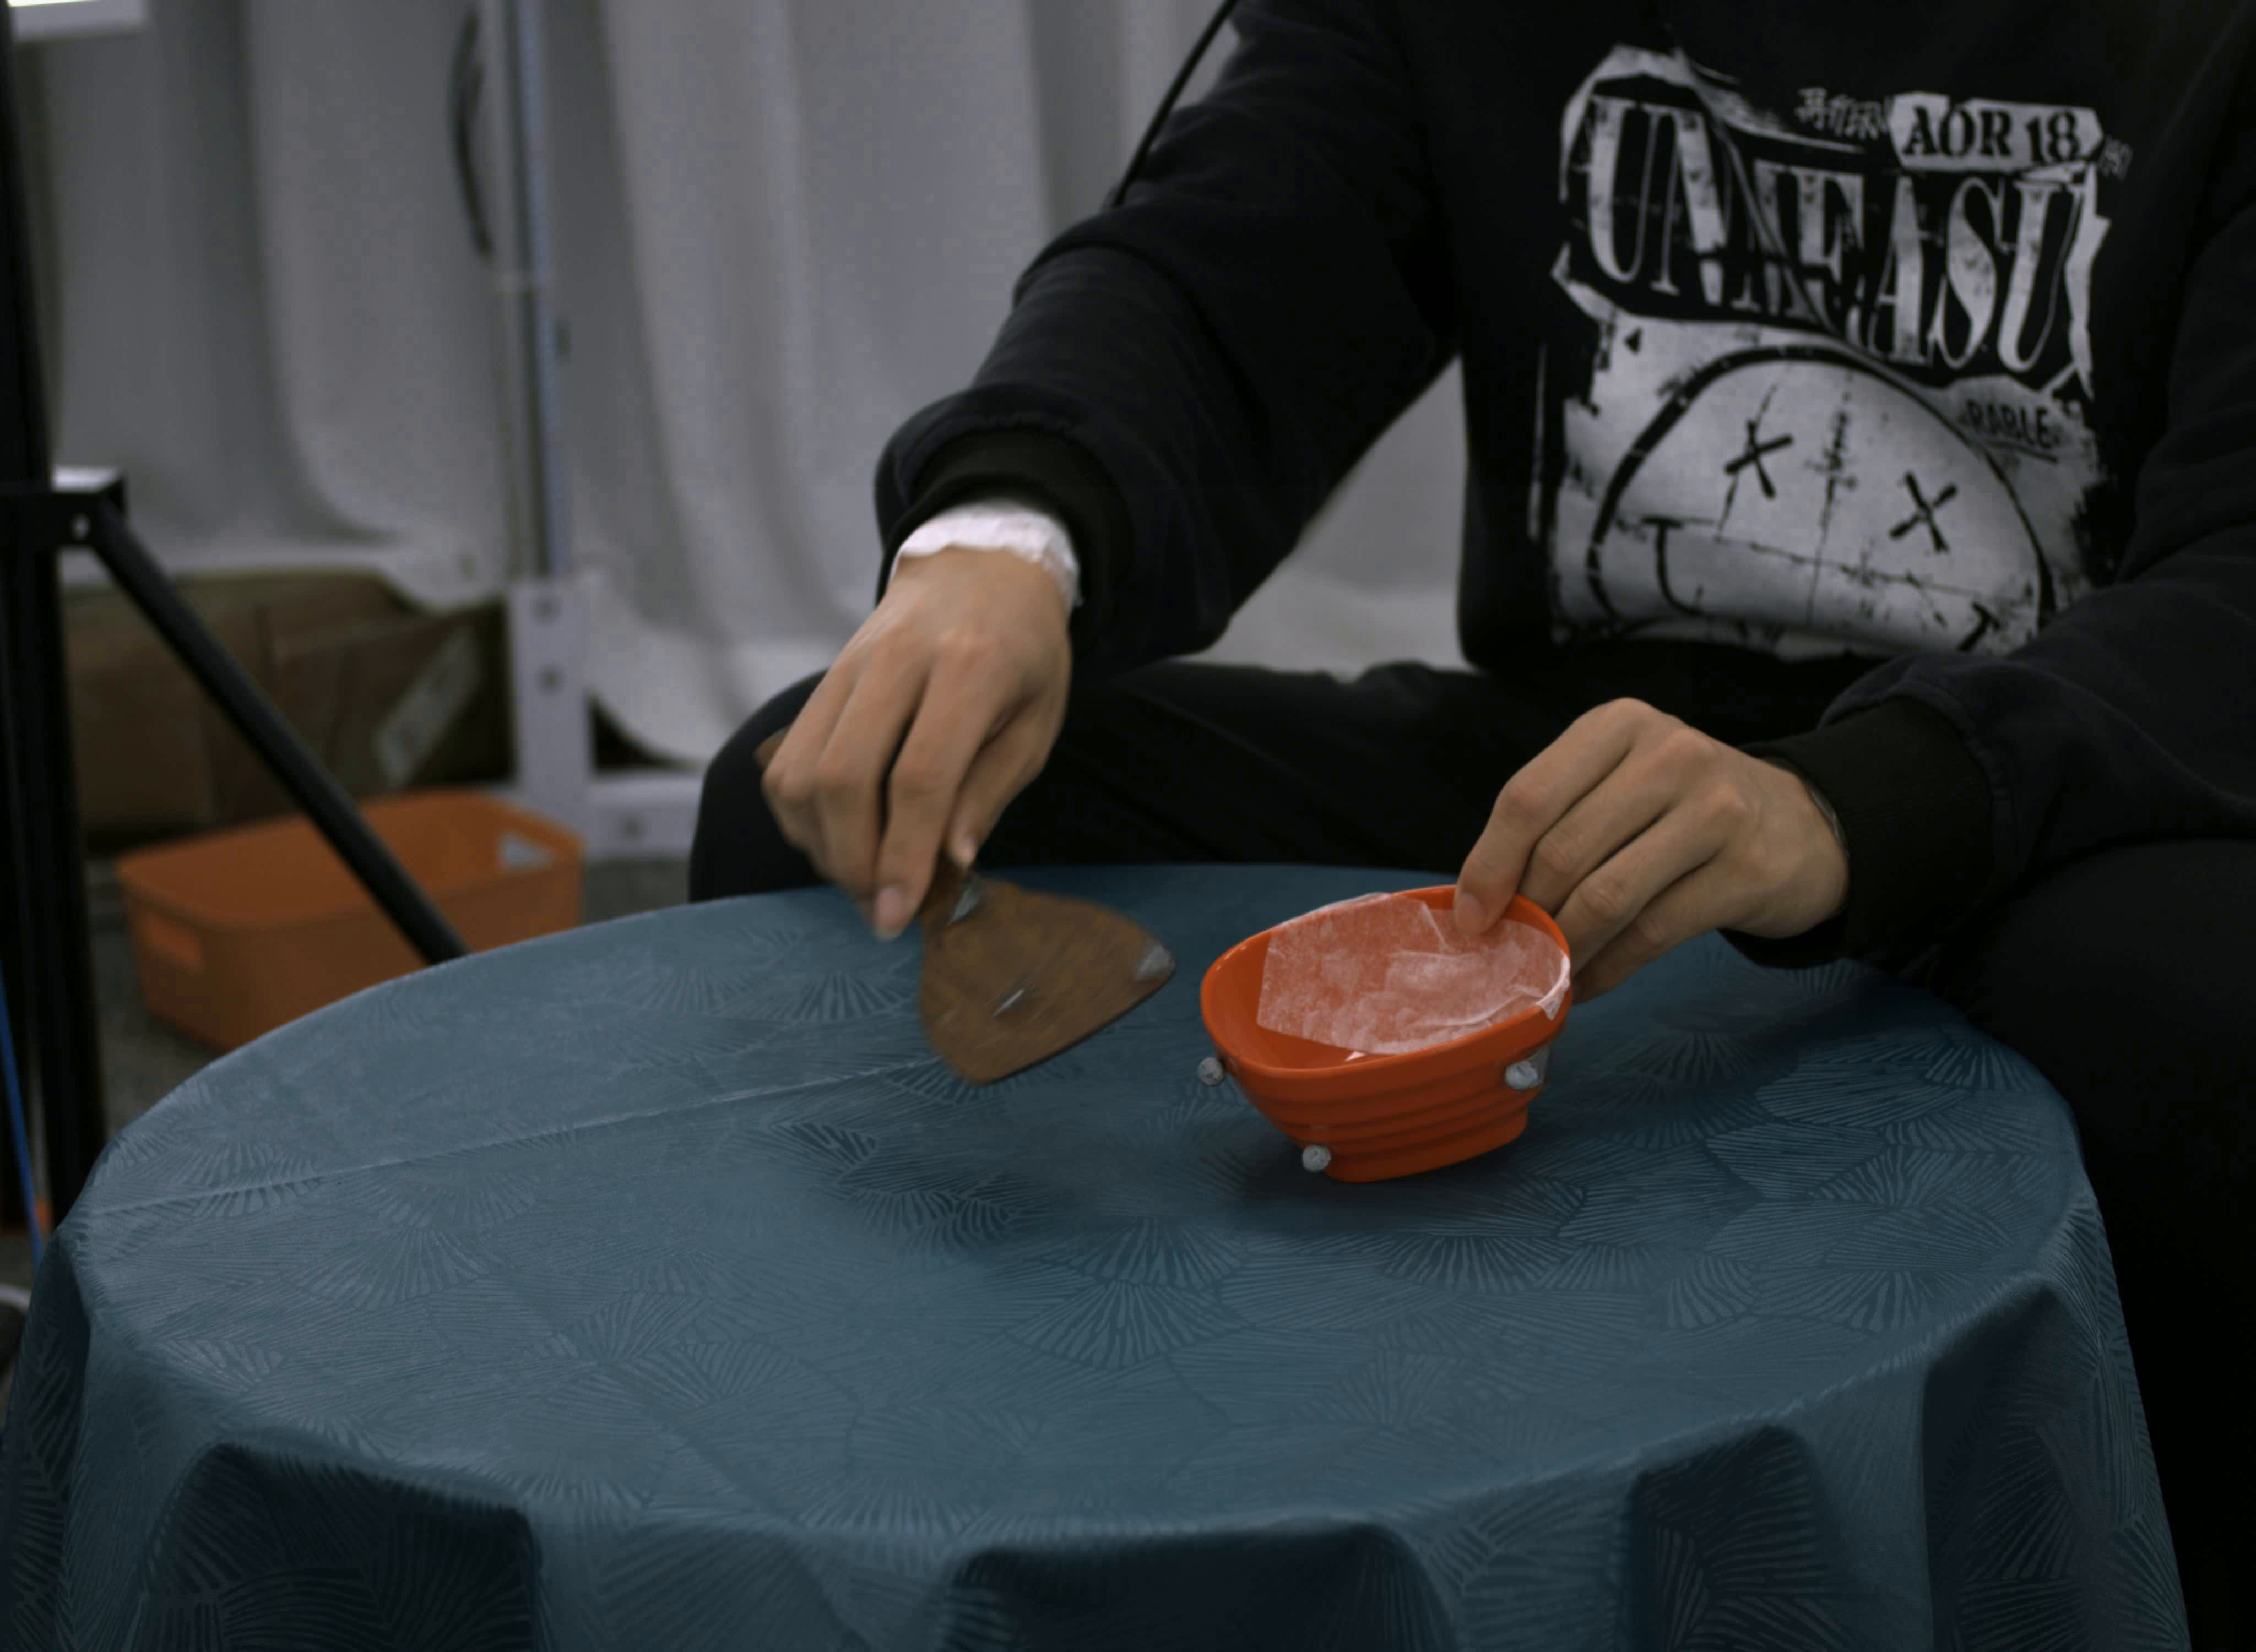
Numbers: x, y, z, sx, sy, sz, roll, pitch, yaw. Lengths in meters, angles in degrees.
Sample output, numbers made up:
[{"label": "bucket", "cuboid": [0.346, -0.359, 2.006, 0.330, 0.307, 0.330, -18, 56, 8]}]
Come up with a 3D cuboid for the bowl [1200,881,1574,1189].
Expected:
[{"label": "bowl", "cuboid": [0.081, 0.066, 1.577, 0.119, 0.051, 0.120, -14, 25, 5]}]

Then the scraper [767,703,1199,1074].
[{"label": "scraper", "cuboid": [-0.055, 0.013, 1.606, 0.075, 0.010, 0.216, -31, 37, -13]}]
